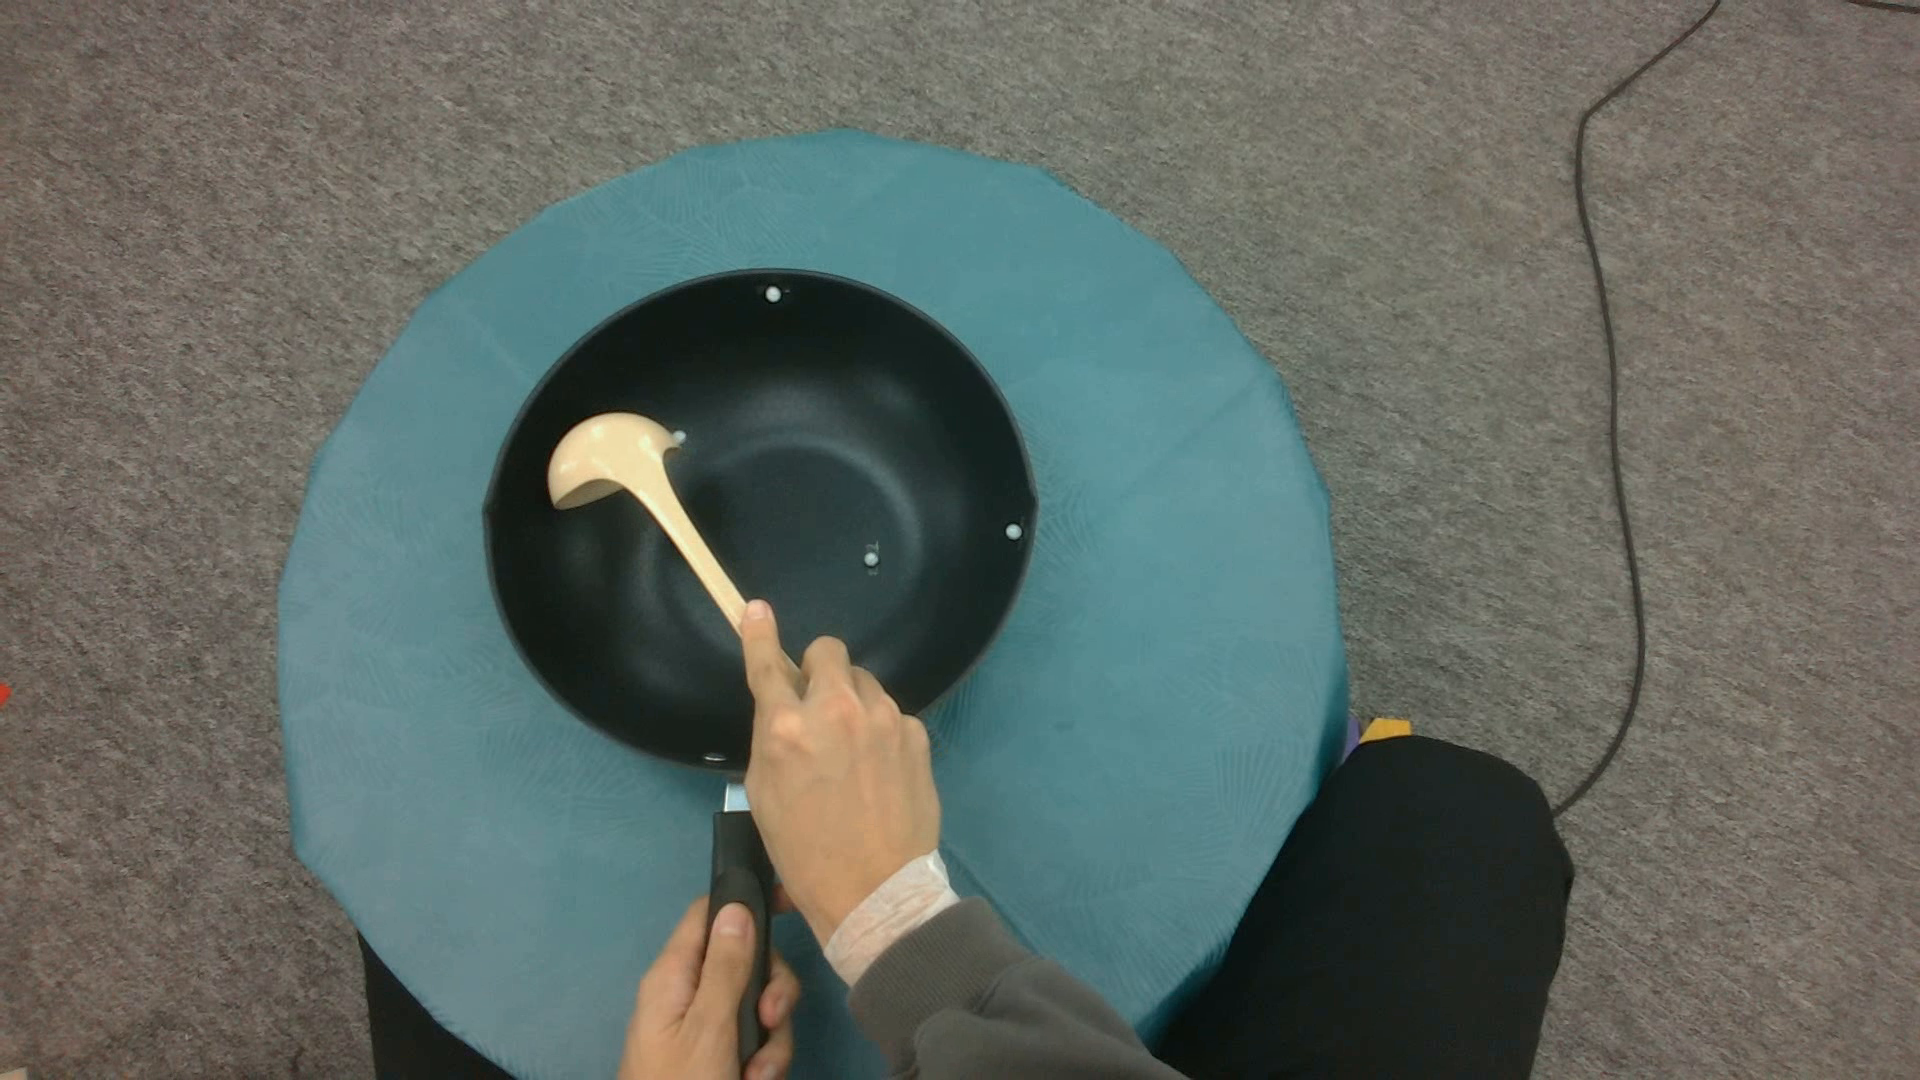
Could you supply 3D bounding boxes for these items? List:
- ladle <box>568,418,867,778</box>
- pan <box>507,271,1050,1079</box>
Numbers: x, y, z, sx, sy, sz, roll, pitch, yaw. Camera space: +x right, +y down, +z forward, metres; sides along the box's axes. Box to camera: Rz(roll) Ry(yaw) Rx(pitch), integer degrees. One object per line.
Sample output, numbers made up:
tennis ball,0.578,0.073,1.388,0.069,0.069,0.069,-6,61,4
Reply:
ladle,-0.124,0.038,0.714,0.072,0.072,0.255,-23,62,-29
pan,-0.097,0.082,0.731,0.288,0.086,0.464,0,72,1
